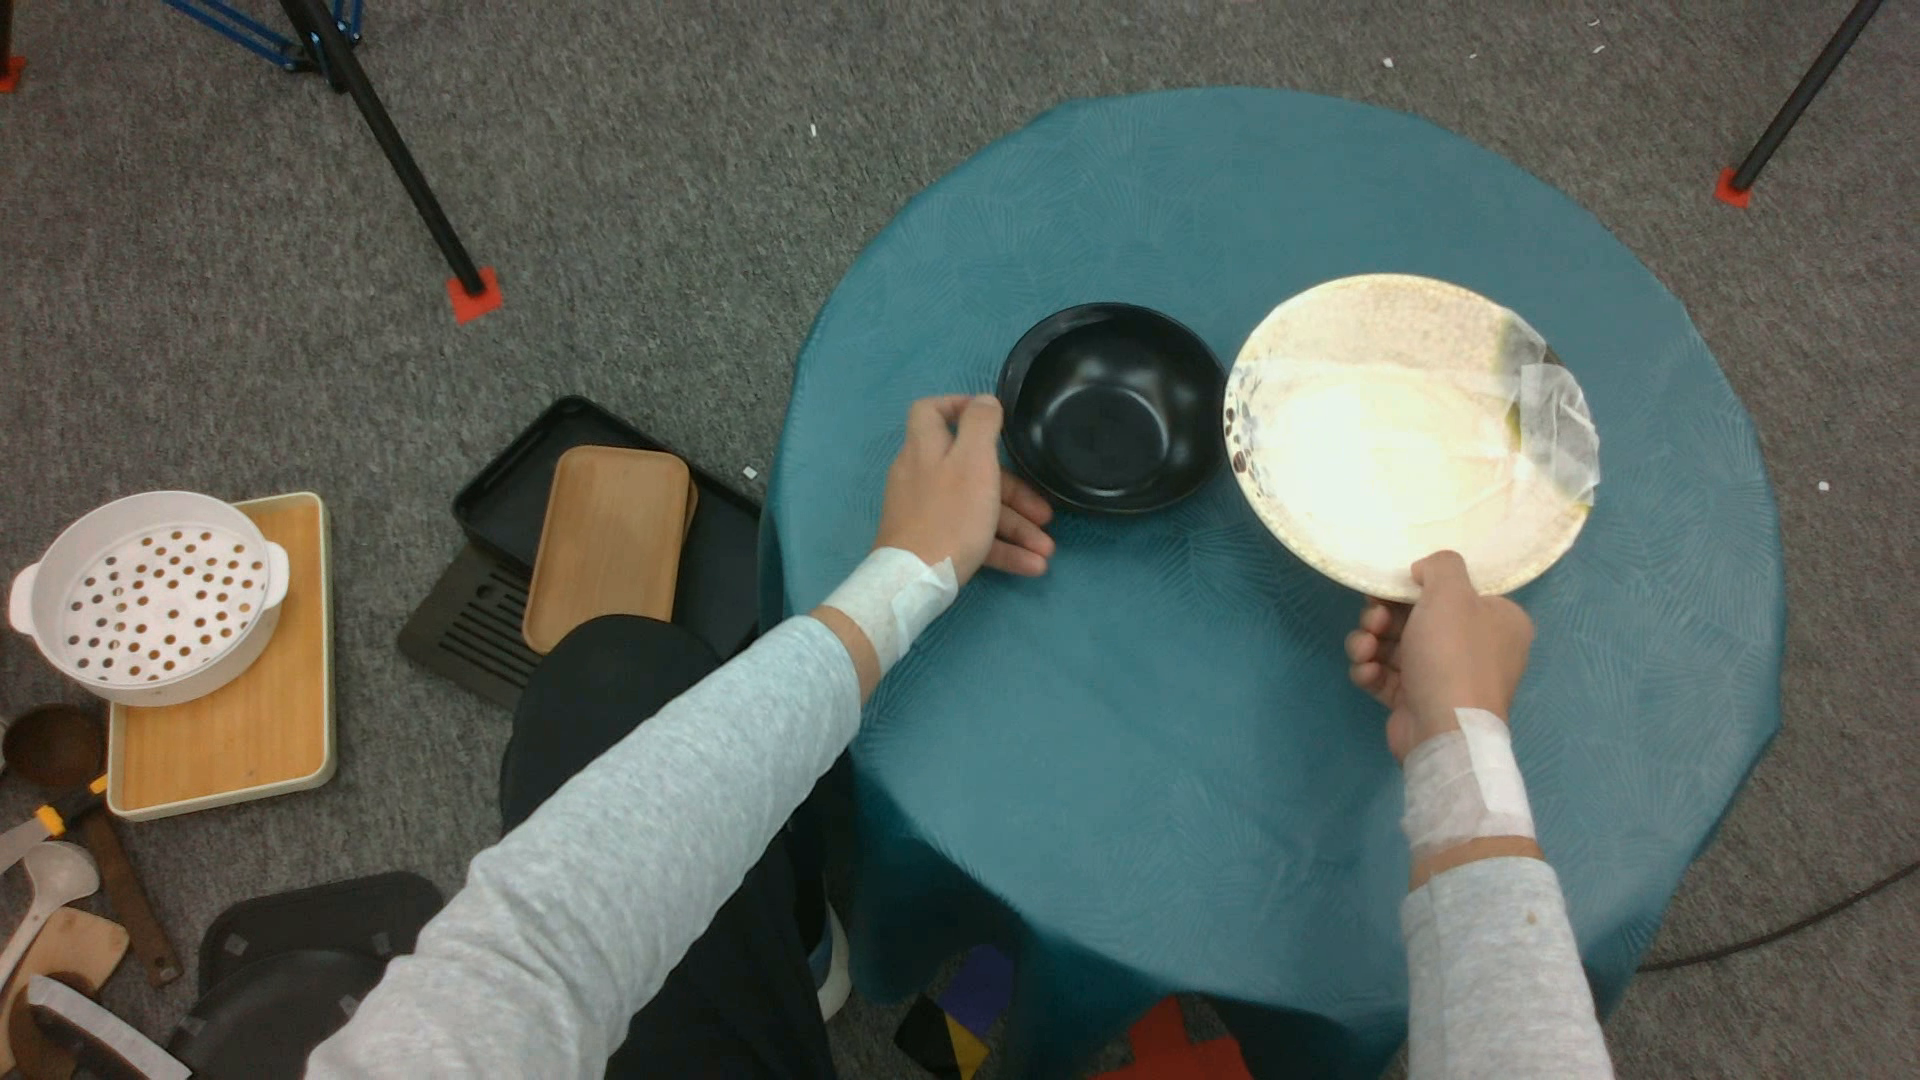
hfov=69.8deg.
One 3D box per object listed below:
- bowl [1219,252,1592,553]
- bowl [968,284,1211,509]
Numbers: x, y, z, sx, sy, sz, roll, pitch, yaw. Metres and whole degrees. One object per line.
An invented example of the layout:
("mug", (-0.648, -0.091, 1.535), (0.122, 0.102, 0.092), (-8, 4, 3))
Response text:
("bowl", (0.240, -0.063, 0.780), (0.204, 0.077, 0.205), (2, 59, -3))
("bowl", (0.074, -0.078, 0.808), (0.140, 0.049, 0.140), (0, 71, 0))
